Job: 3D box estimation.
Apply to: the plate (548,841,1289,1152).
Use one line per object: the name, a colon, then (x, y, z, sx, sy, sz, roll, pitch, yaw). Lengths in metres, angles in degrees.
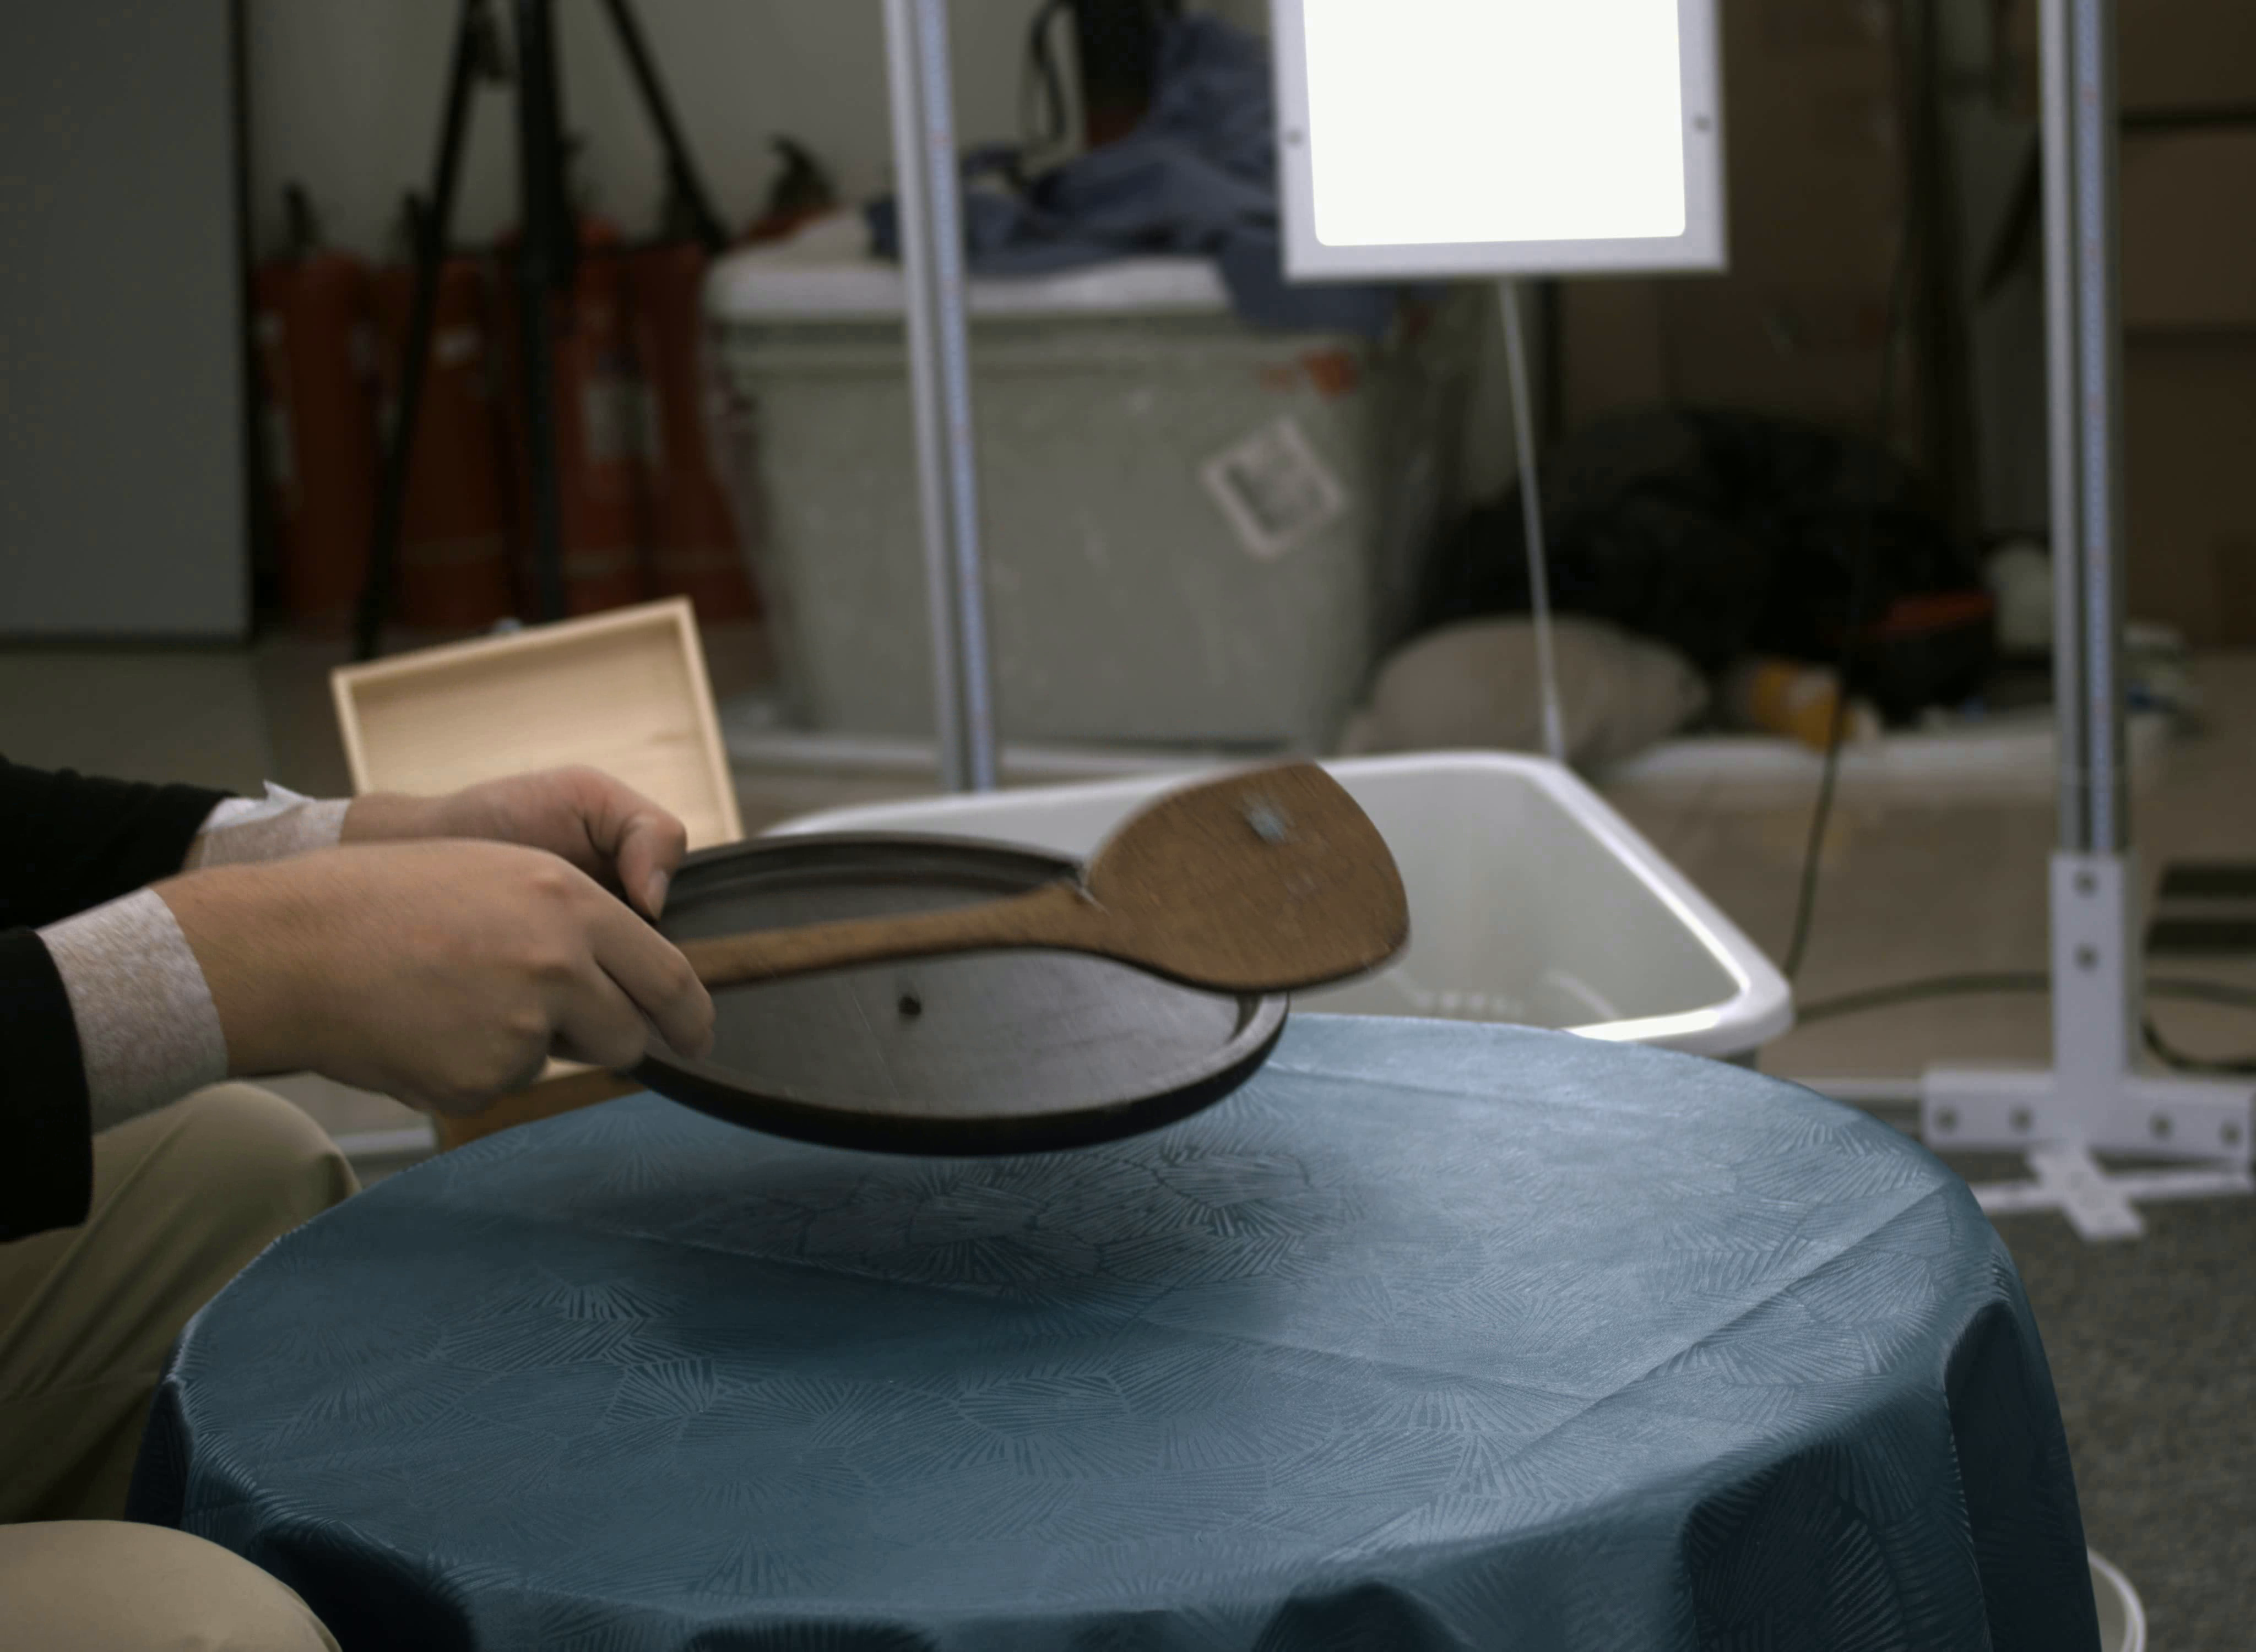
plate: (-0.072, 0.055, 1.879, 0.253, 0.029, 0.254, 4, 21, -3)

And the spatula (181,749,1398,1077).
spatula: (-0.101, 0.036, 1.700, 0.380, 0.016, 0.097, -9, 47, -16)
